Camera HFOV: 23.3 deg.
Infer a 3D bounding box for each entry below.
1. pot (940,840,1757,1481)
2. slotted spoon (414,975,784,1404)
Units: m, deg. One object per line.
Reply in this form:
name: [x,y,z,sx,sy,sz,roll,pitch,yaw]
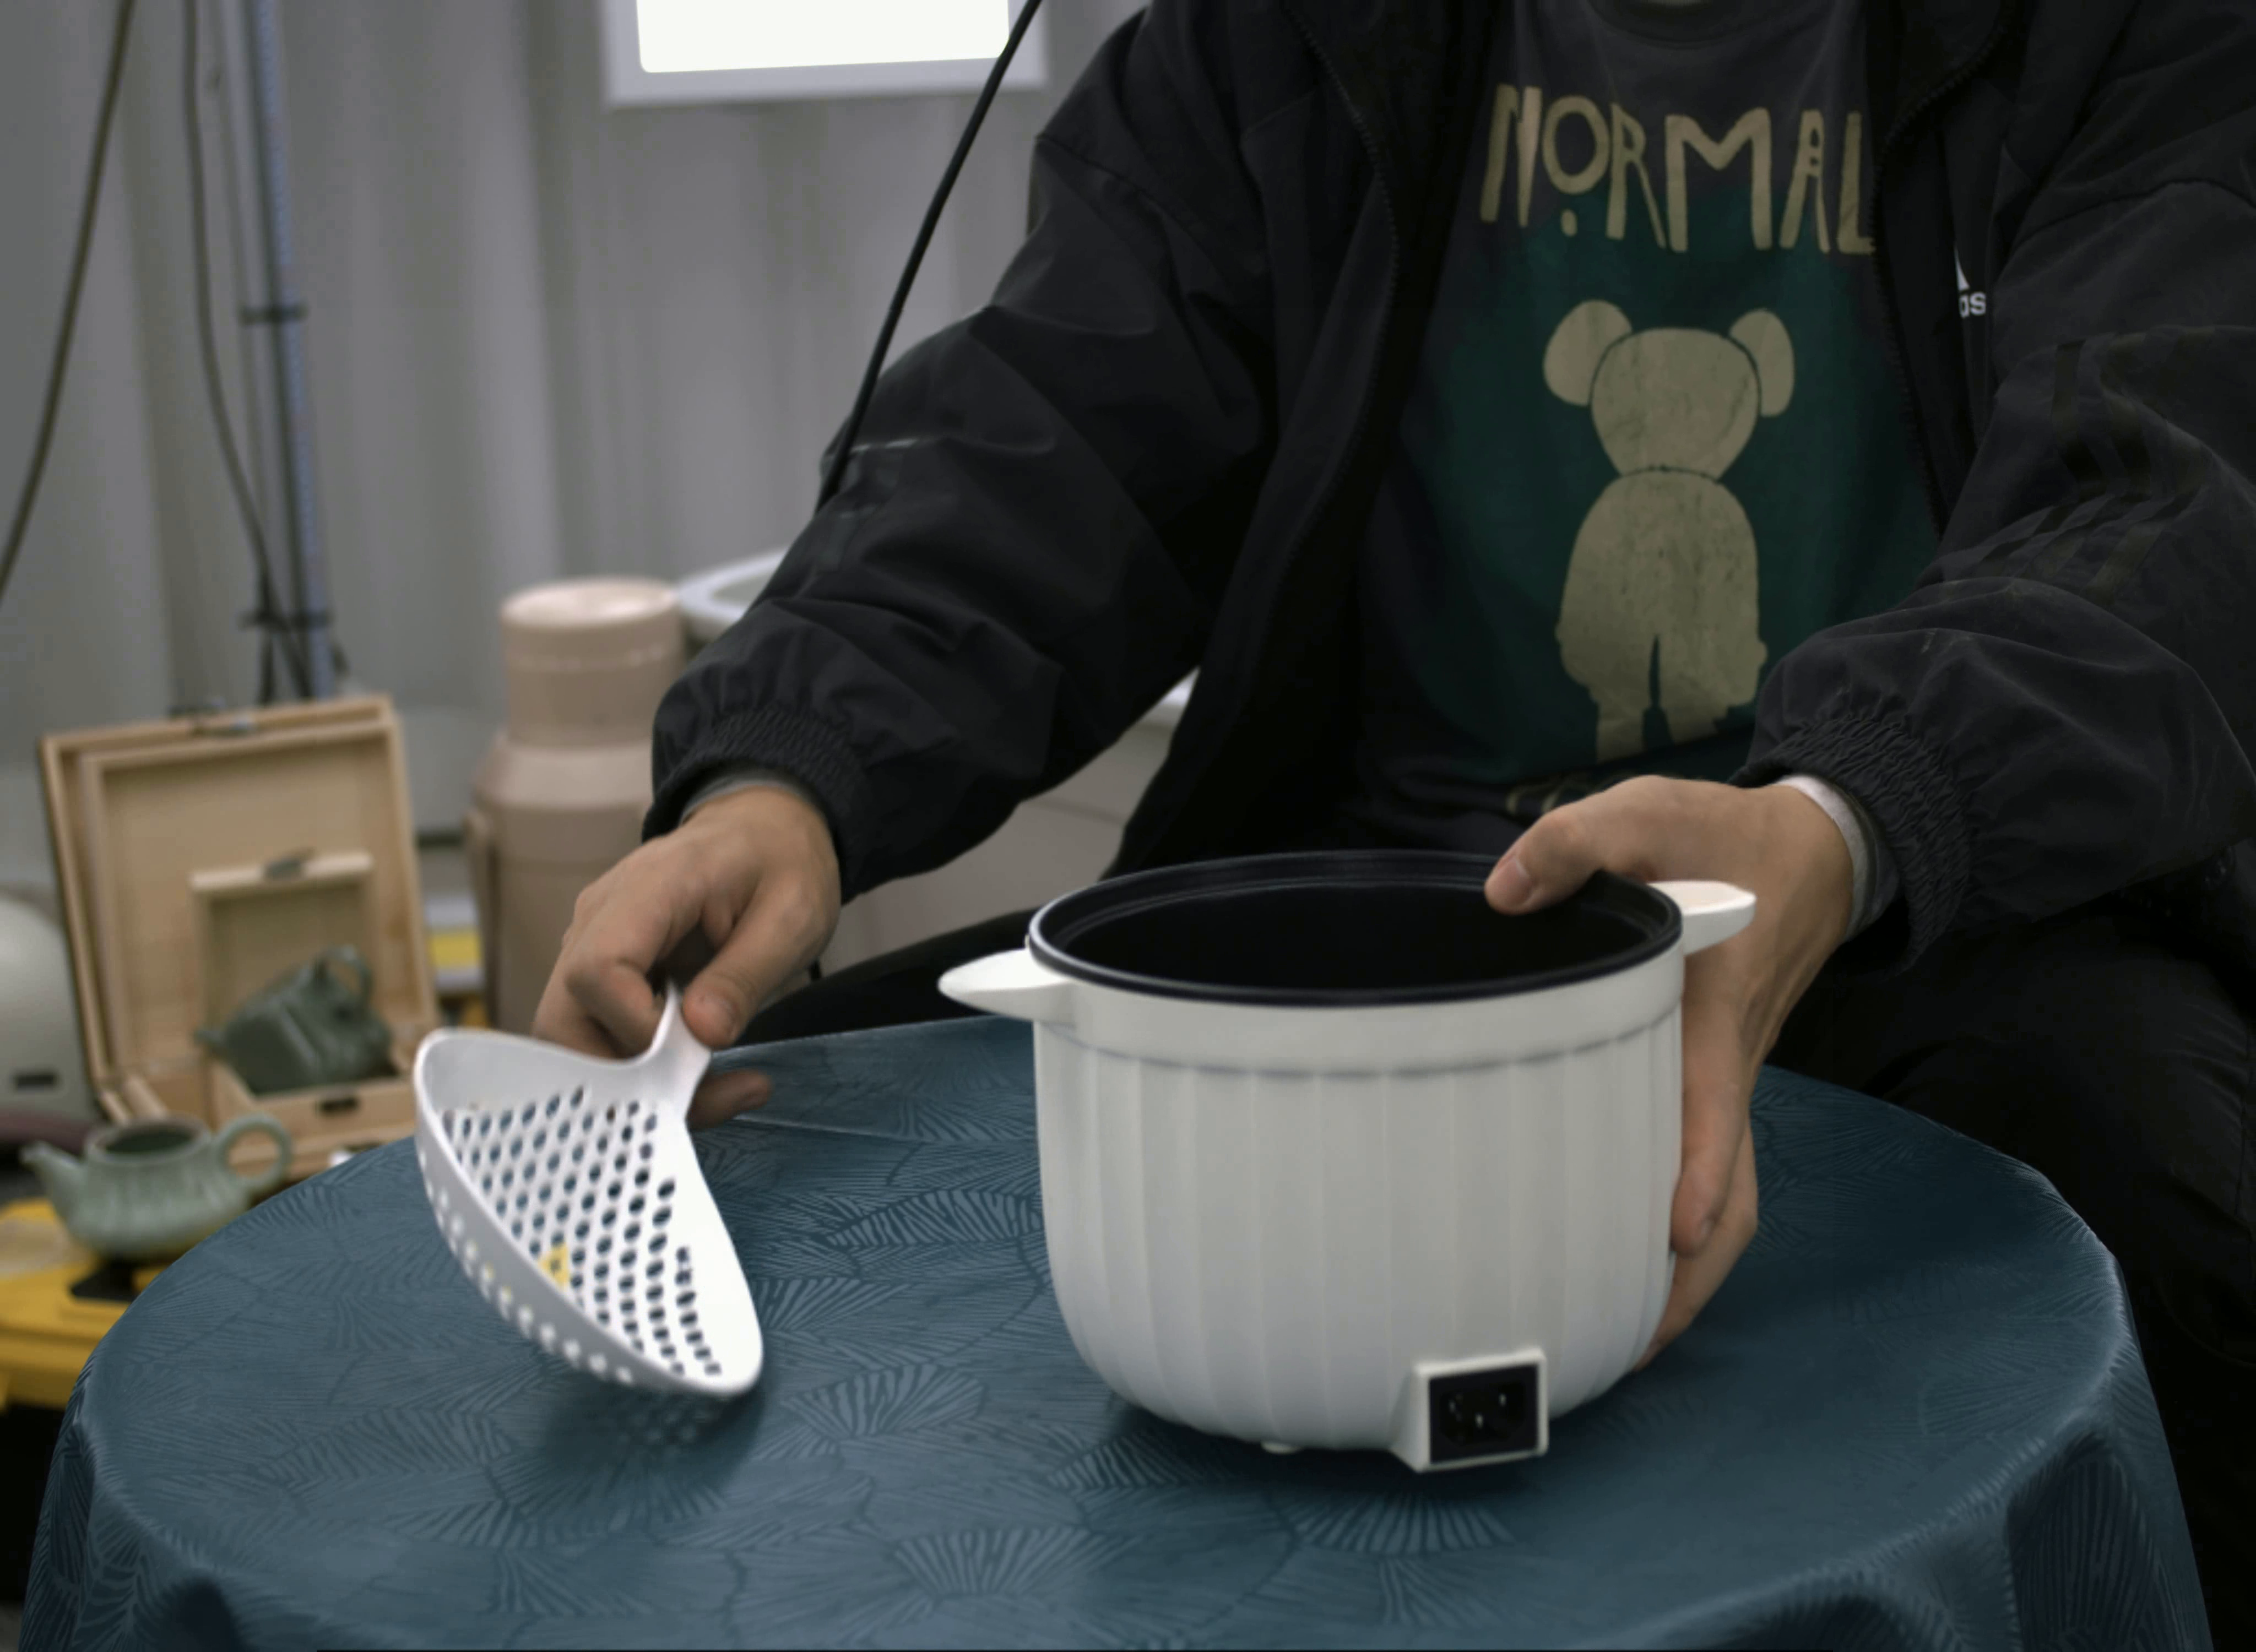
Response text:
pot: [0.061,0.089,1.519,0.239,0.142,0.192,-5,16,-19]
slotted spoon: [-0.152,0.093,1.656,0.050,0.136,0.350,-46,7,15]
